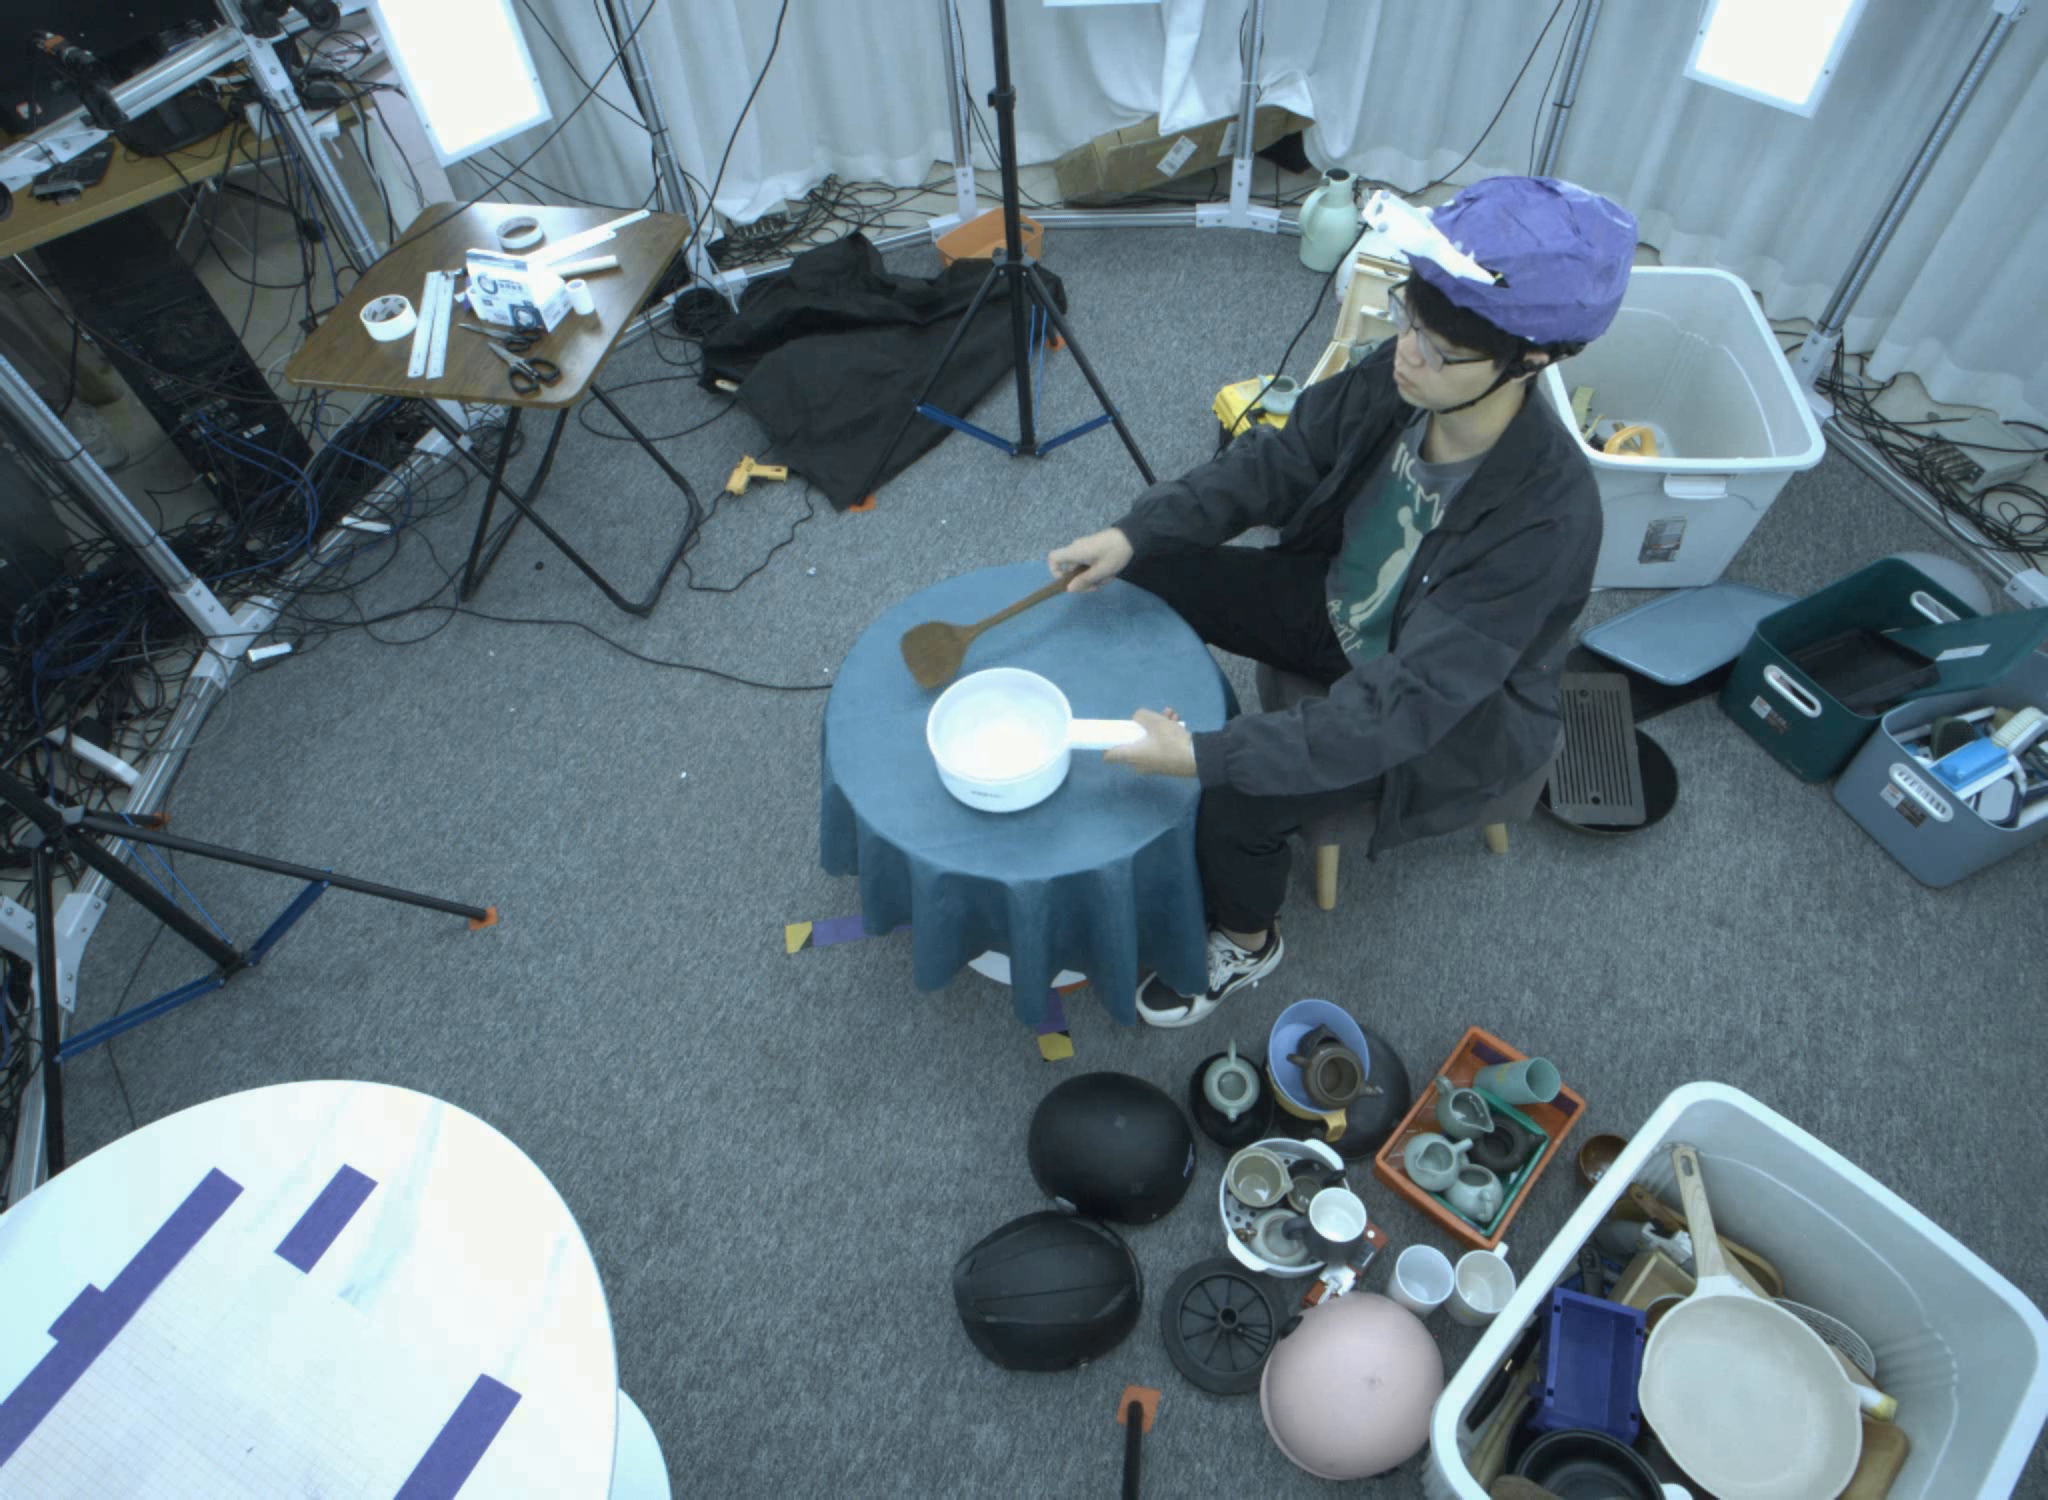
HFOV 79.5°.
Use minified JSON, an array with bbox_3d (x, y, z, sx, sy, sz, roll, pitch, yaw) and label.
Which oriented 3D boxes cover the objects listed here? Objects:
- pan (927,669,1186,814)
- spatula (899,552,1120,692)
[{"bbox_3d":[0.046,-0.002,1.718,0.354,0.103,0.199,4,54,4],"label":"pan"},{"bbox_3d":[-0.013,-0.211,1.865,0.389,0.097,0.015,-29,16,-16],"label":"spatula"}]
